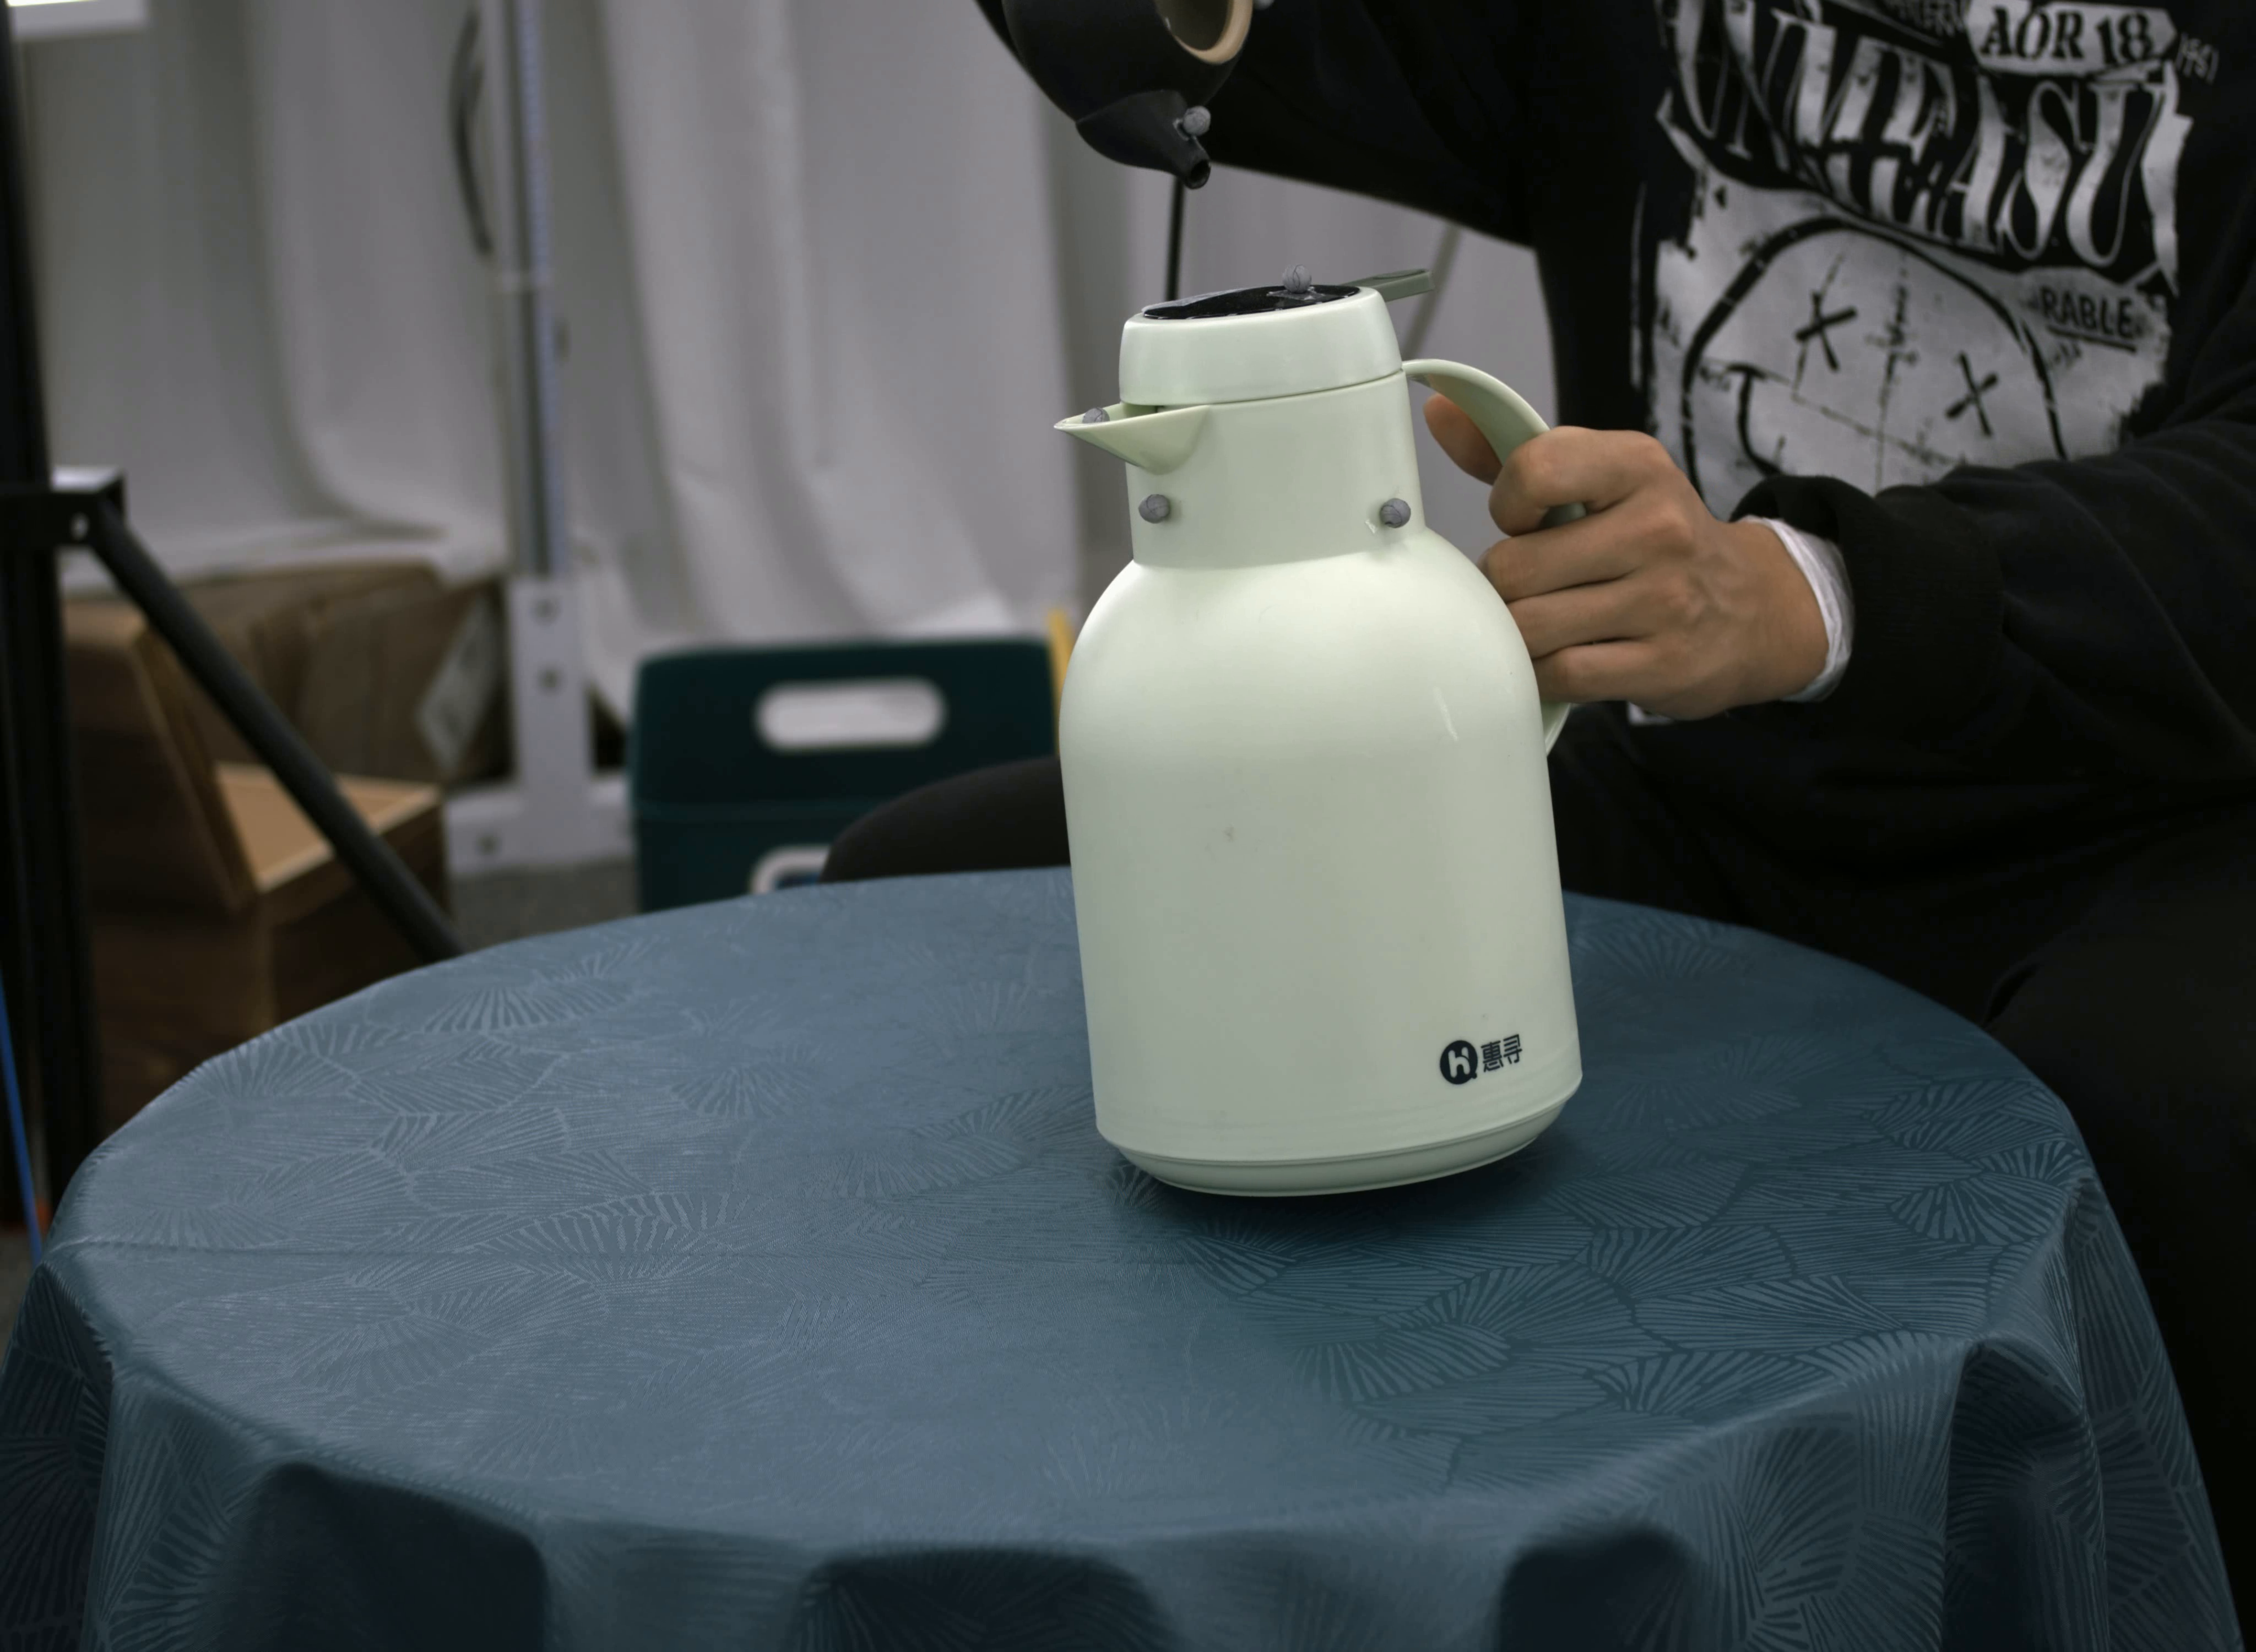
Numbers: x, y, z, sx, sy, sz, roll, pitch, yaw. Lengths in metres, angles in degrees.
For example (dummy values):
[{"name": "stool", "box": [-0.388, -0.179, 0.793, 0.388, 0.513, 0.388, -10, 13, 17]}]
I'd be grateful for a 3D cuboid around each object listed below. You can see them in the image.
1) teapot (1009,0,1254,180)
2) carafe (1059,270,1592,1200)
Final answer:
[{"name": "teapot", "box": [0.000, -0.250, 1.571, 0.054, 0.134, 0.088, -9, -12, 35]}, {"name": "carafe", "box": [0.062, -0.030, 1.553, 0.182, 0.257, 0.147, -9, 7, -37]}]
